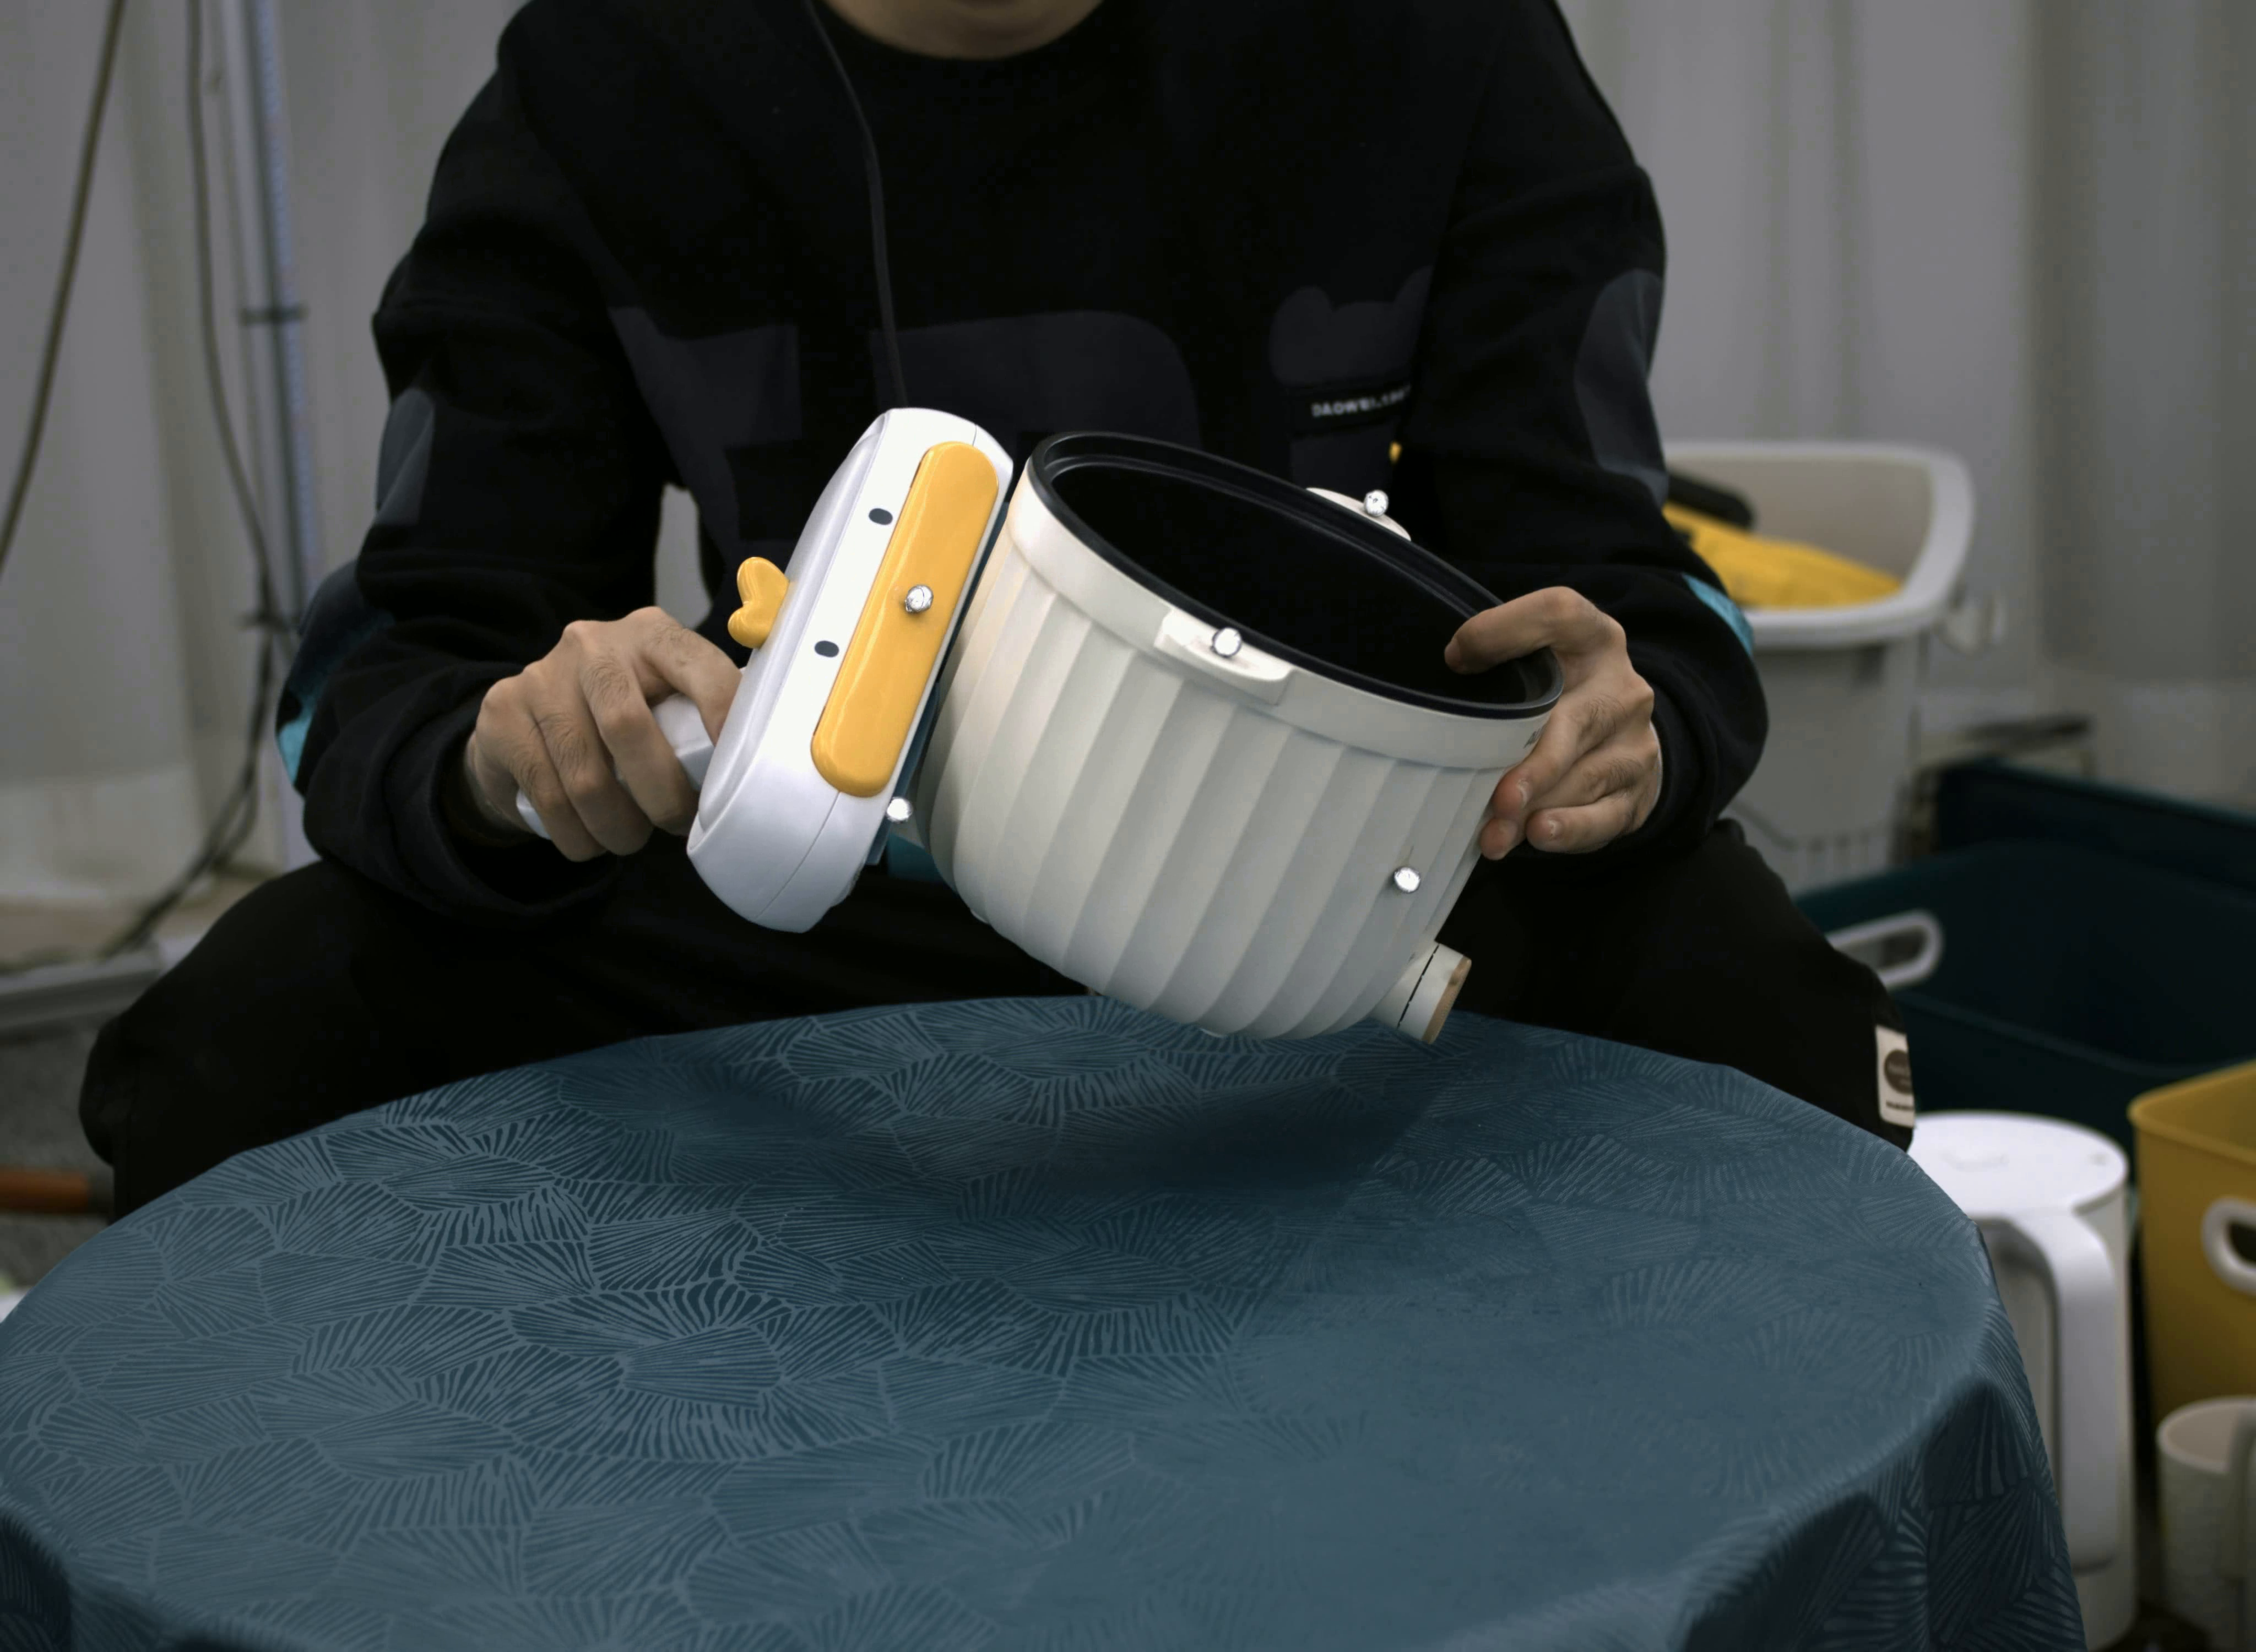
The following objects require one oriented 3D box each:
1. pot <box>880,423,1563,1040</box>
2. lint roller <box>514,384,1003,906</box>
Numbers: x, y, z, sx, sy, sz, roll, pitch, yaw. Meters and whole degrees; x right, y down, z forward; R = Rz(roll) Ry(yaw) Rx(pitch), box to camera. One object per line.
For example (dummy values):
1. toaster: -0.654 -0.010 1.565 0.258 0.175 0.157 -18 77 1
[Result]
1. pot: 0.032 -0.022 1.717 0.190 0.142 0.241 24 19 6
2. lint roller: -0.125 -0.036 1.757 0.191 0.073 0.195 -37 31 42
